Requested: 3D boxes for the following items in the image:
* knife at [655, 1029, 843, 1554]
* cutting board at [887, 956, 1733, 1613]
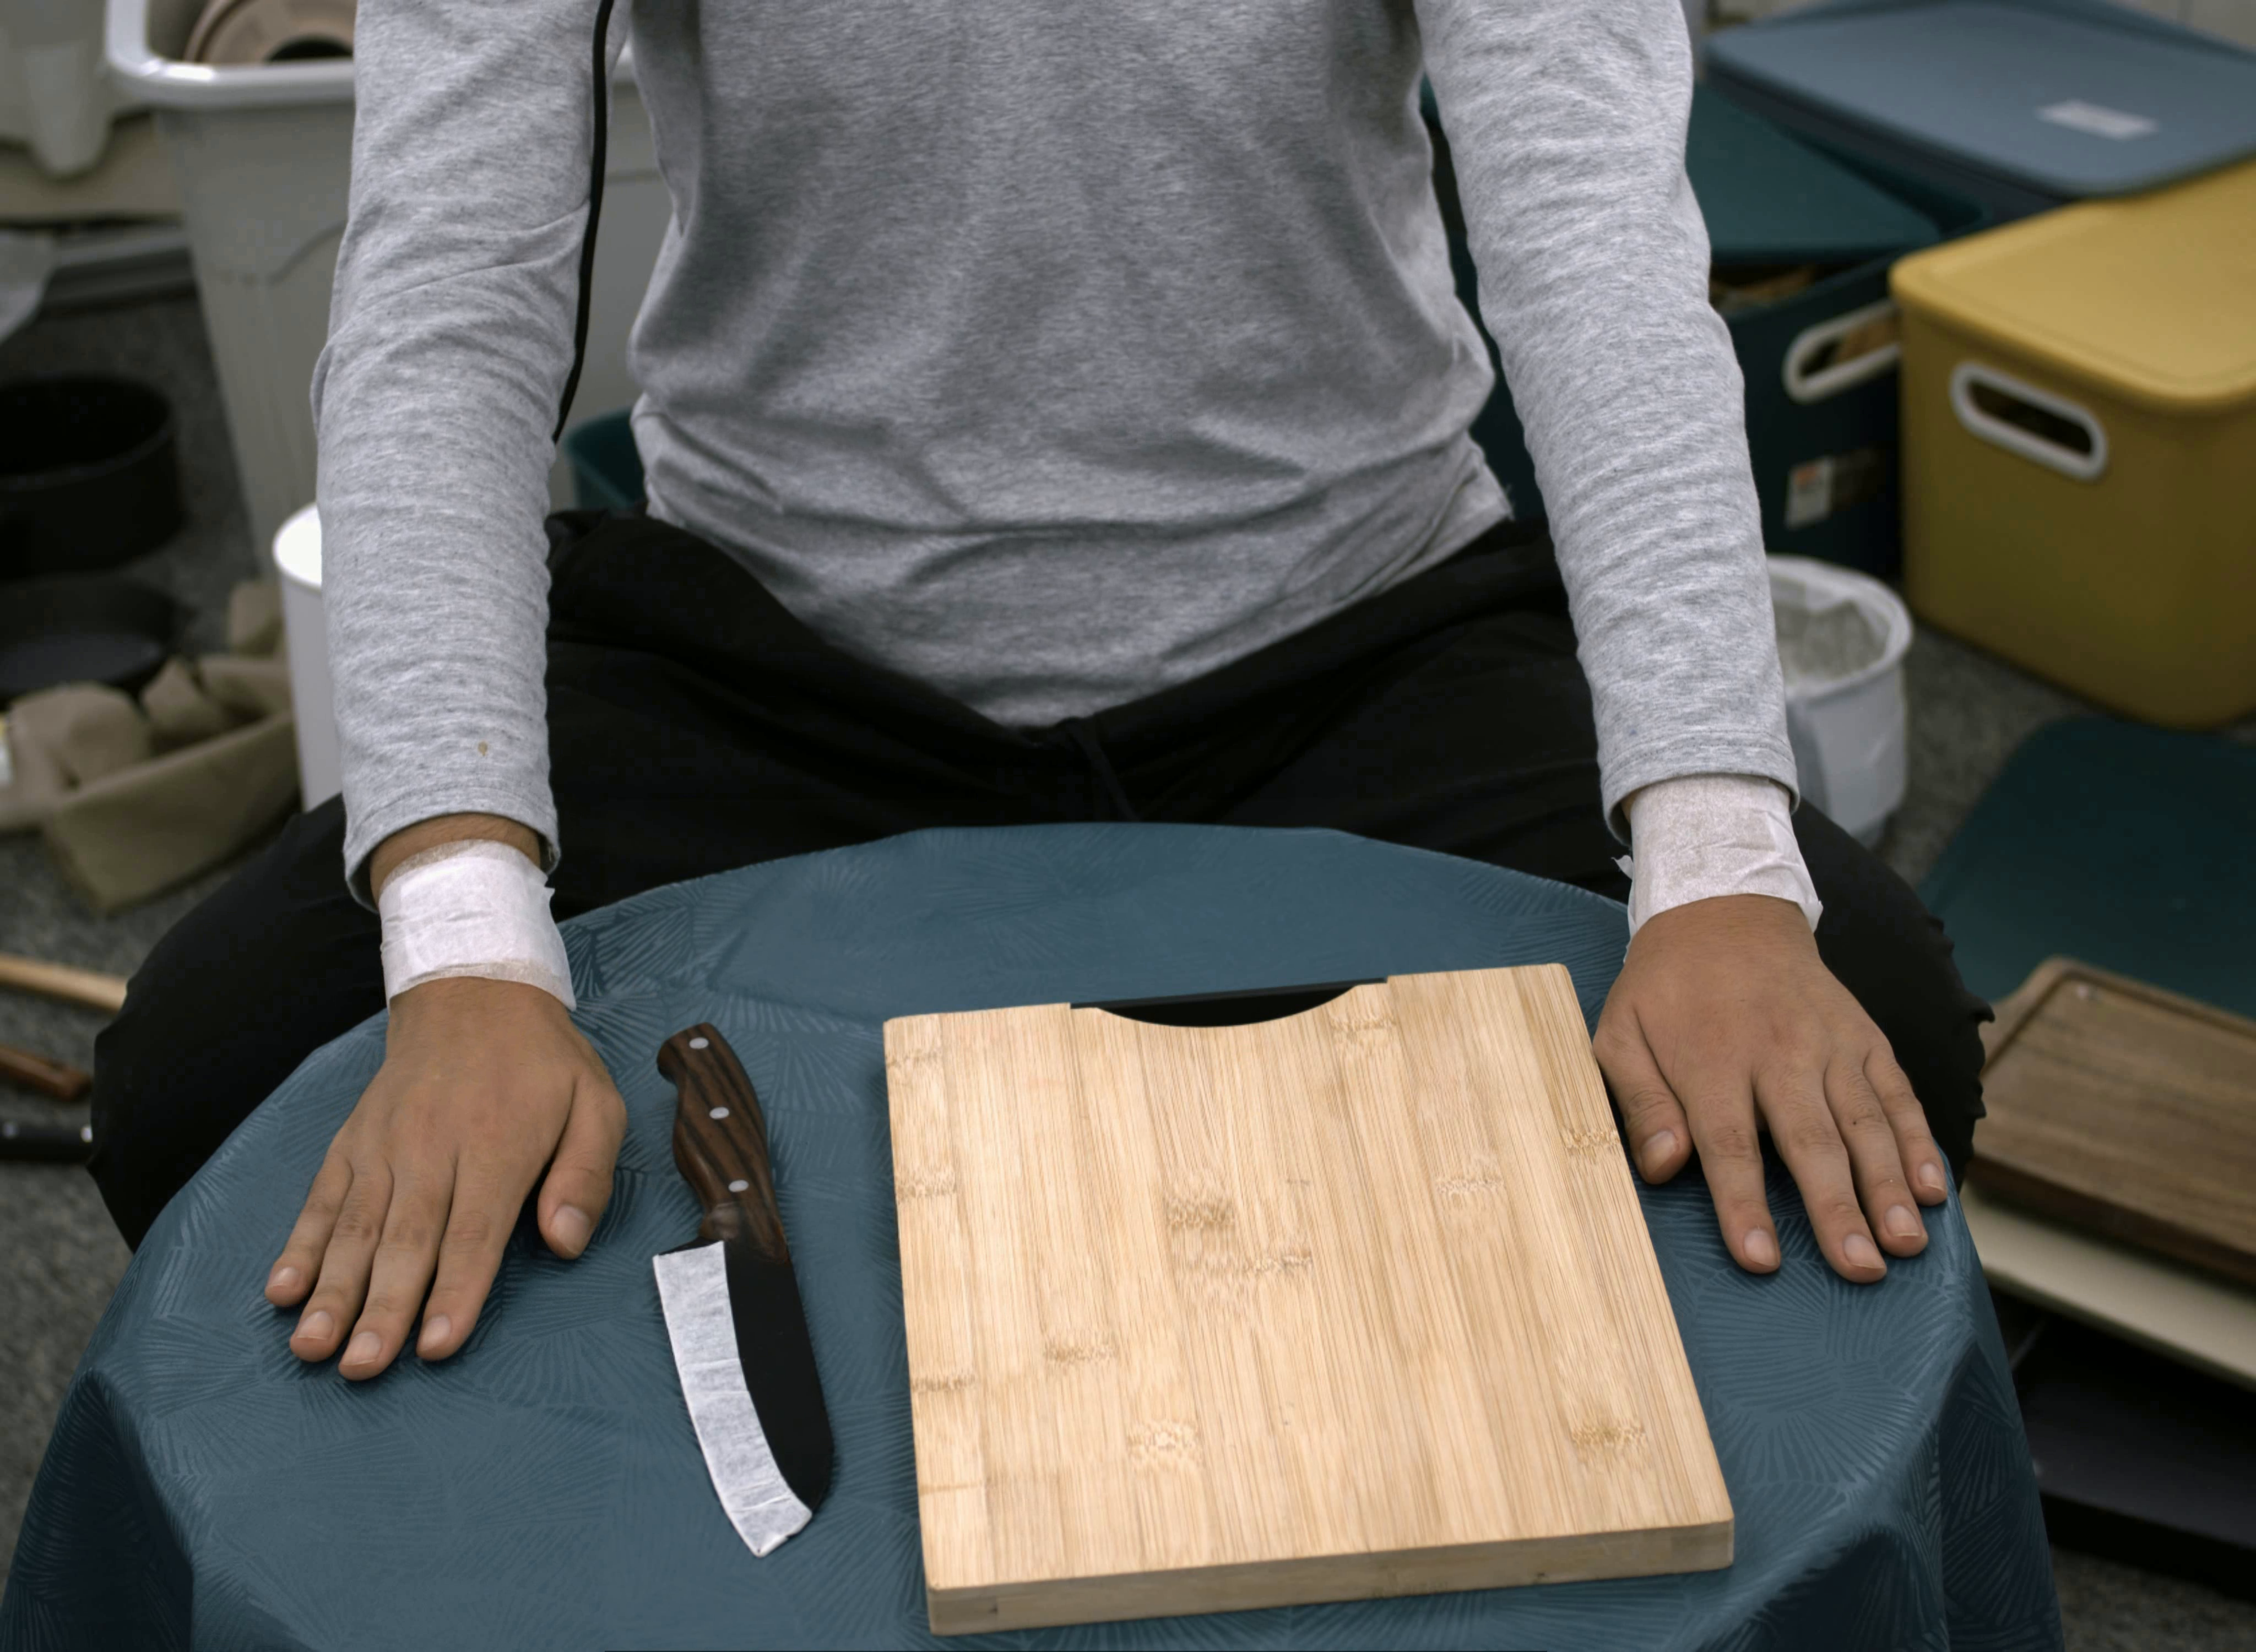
[{"bbox_3d":[-0.127,0.148,1.807,0.050,0.020,0.293,-10,30,-4],"label":"knife"},{"bbox_3d":[0.047,0.141,1.802,0.250,0.023,0.353,-4,27,-4],"label":"cutting board"}]
